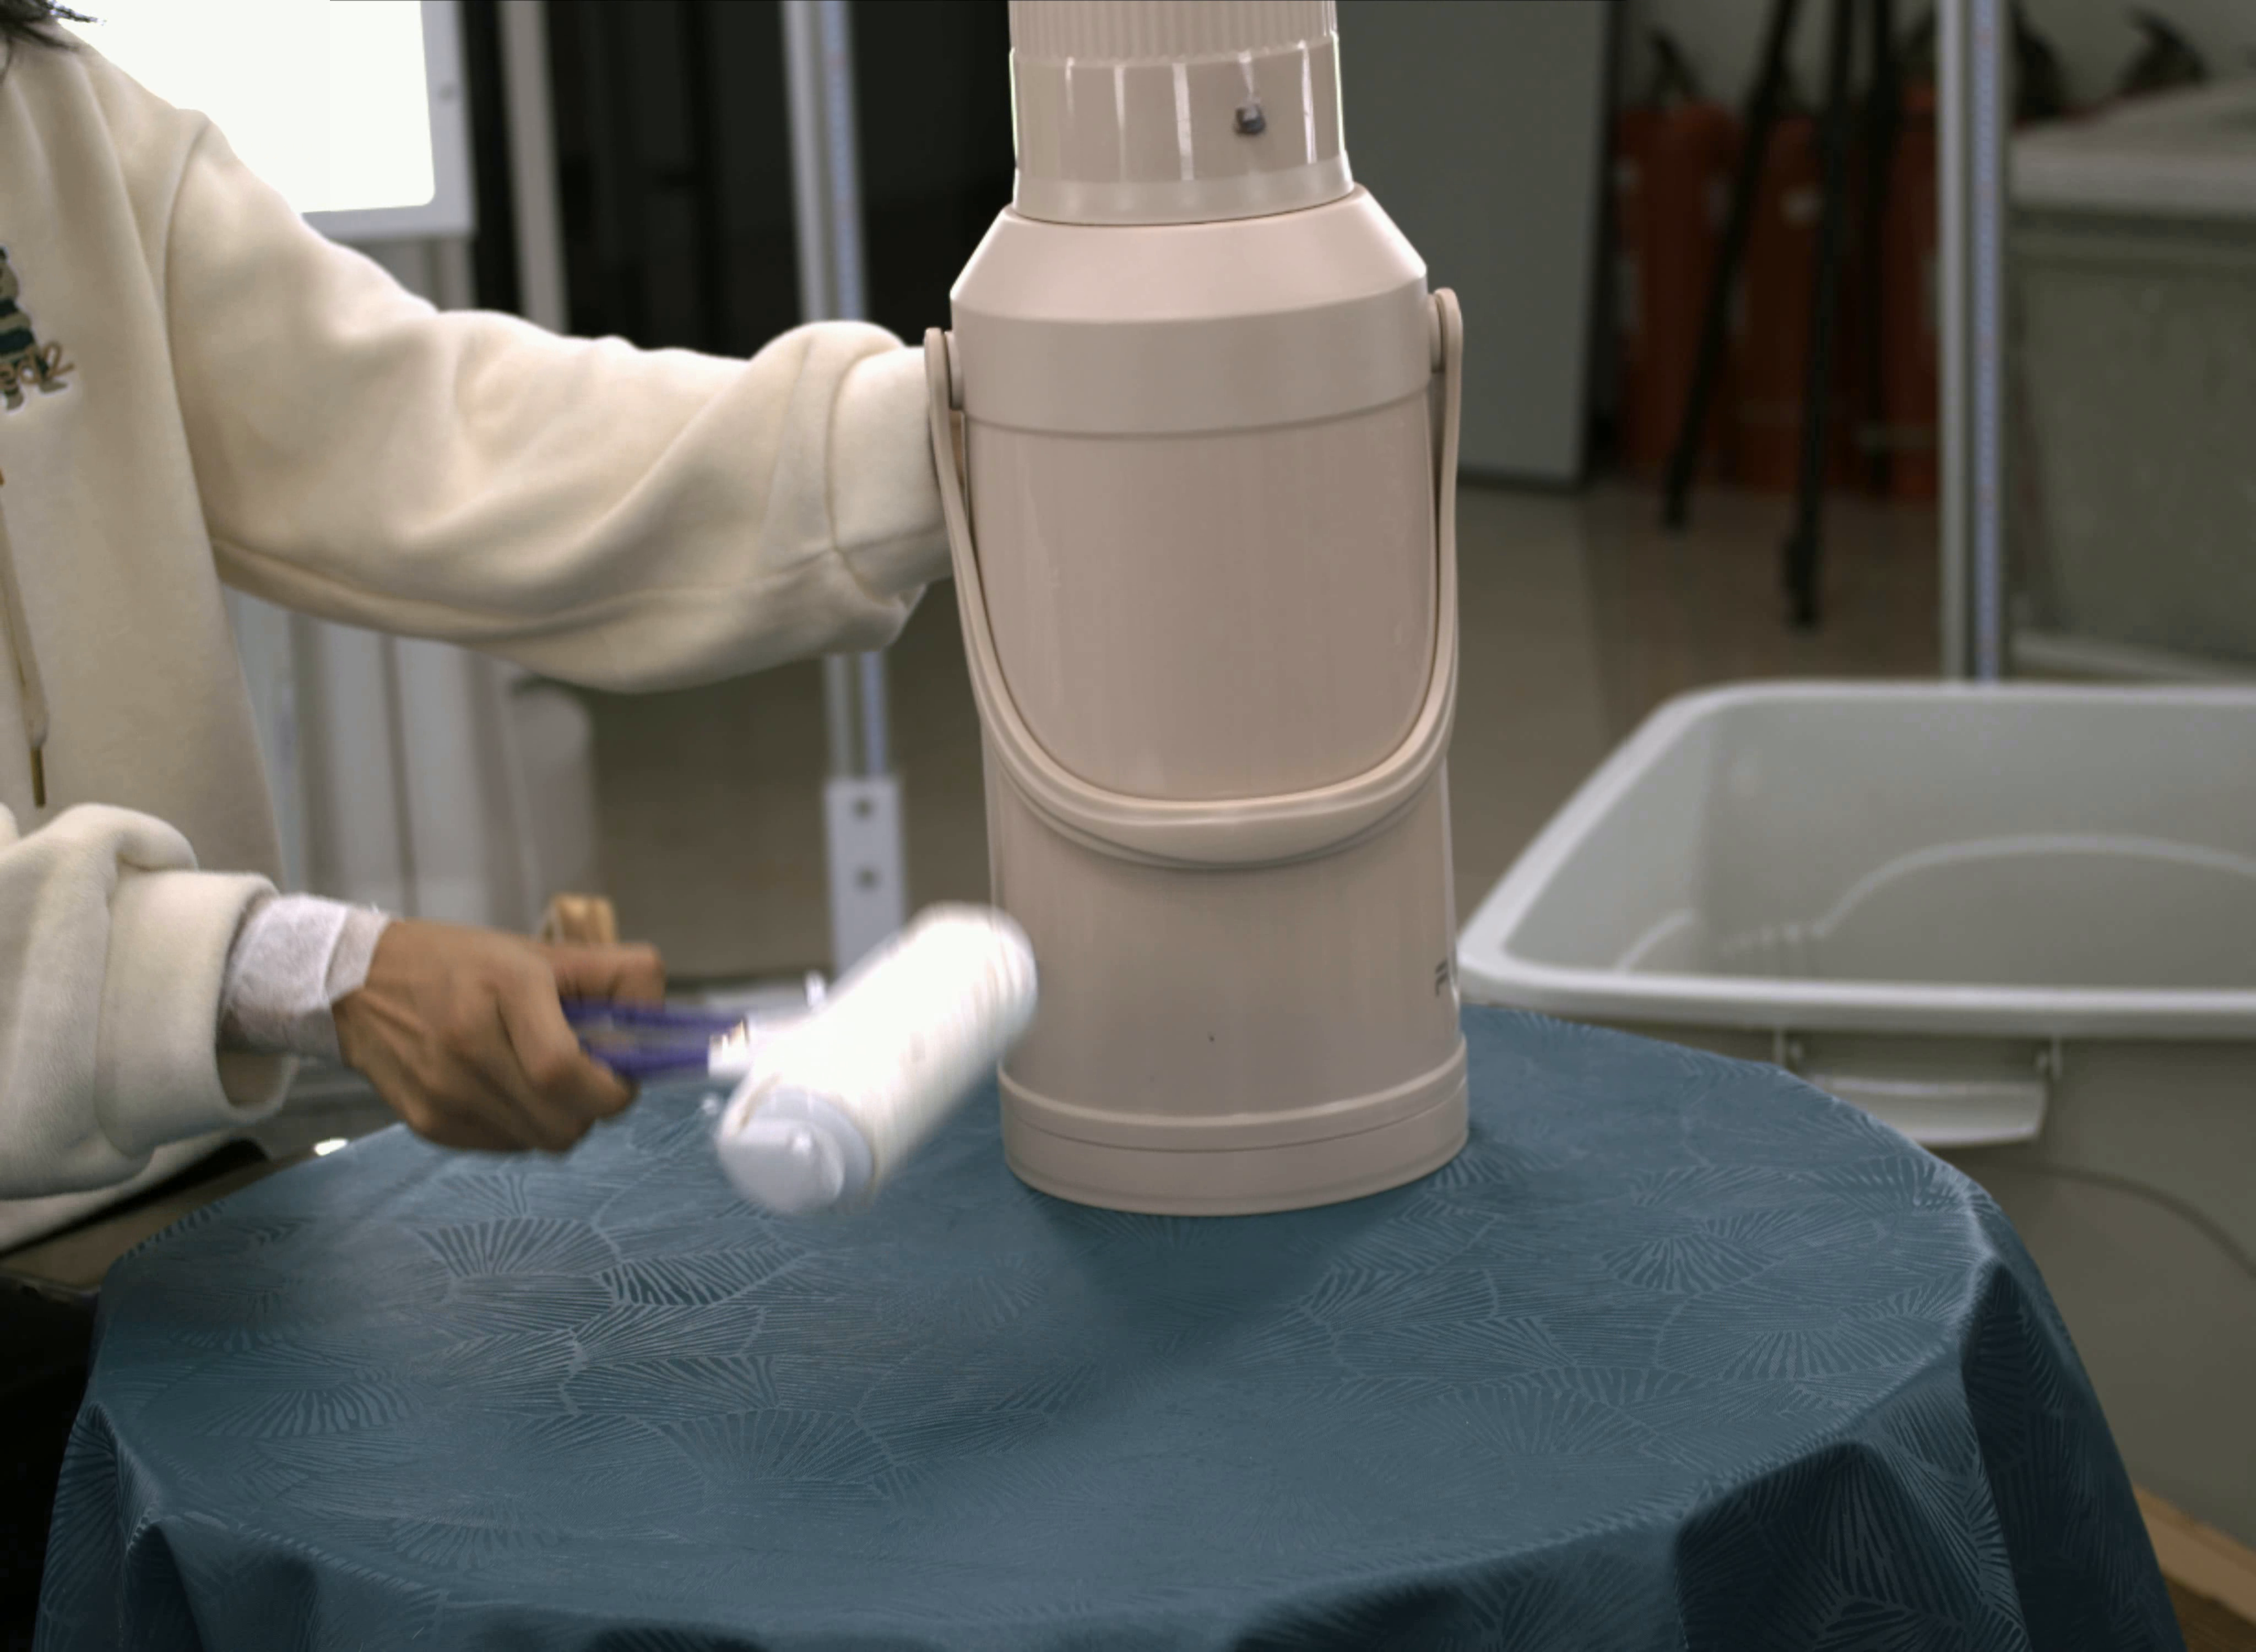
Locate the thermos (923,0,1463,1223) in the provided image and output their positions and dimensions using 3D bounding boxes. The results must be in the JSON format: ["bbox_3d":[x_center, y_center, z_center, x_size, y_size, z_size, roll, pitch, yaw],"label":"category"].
[{"bbox_3d":[0.024,-0.089,1.779,0.172,0.411,0.208,-5,13,-5],"label":"thermos"}]

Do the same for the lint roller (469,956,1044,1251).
[{"bbox_3d":[-0.124,0.068,1.630,0.181,0.050,0.131,14,34,29],"label":"lint roller"}]
